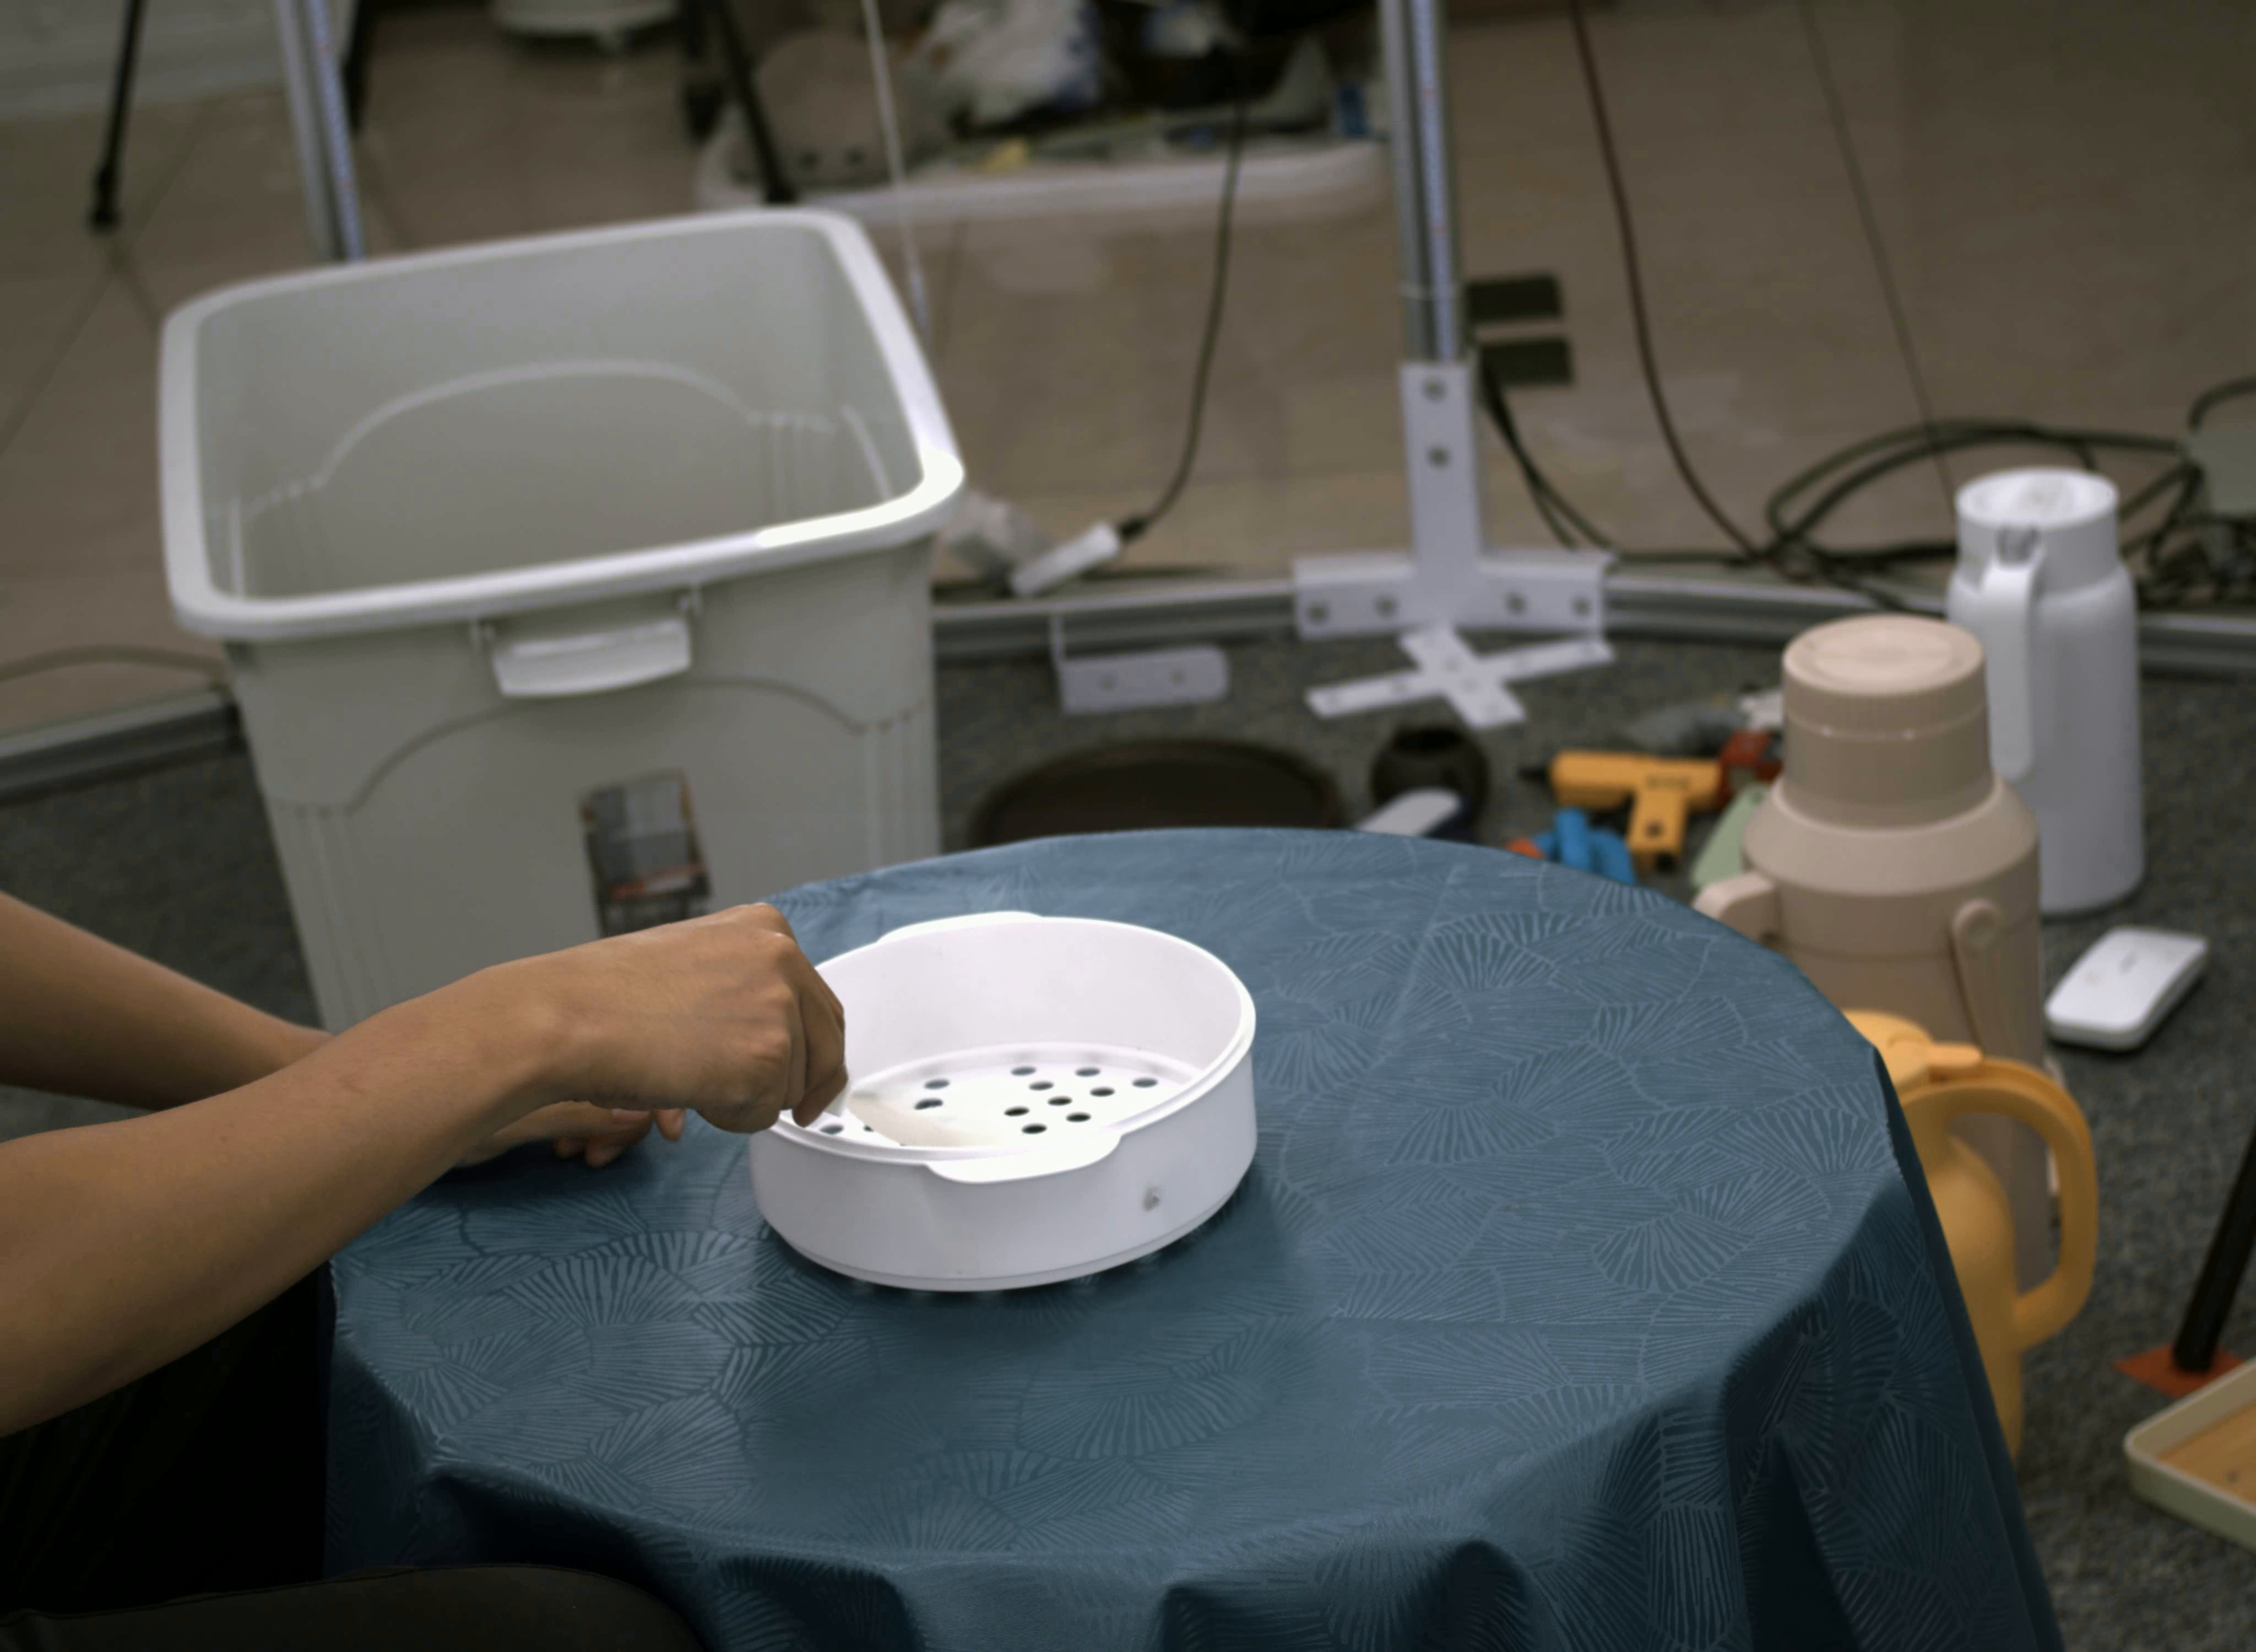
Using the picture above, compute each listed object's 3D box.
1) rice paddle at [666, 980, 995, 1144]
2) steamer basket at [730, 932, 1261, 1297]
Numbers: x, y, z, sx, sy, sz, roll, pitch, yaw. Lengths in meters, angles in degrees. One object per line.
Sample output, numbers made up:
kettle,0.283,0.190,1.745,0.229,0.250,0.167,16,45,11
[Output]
rice paddle,-0.105,0.091,2.069,0.068,0.029,0.207,18,-5,28
steamer basket,-0.048,0.110,2.149,0.201,0.070,0.227,-8,22,-5
